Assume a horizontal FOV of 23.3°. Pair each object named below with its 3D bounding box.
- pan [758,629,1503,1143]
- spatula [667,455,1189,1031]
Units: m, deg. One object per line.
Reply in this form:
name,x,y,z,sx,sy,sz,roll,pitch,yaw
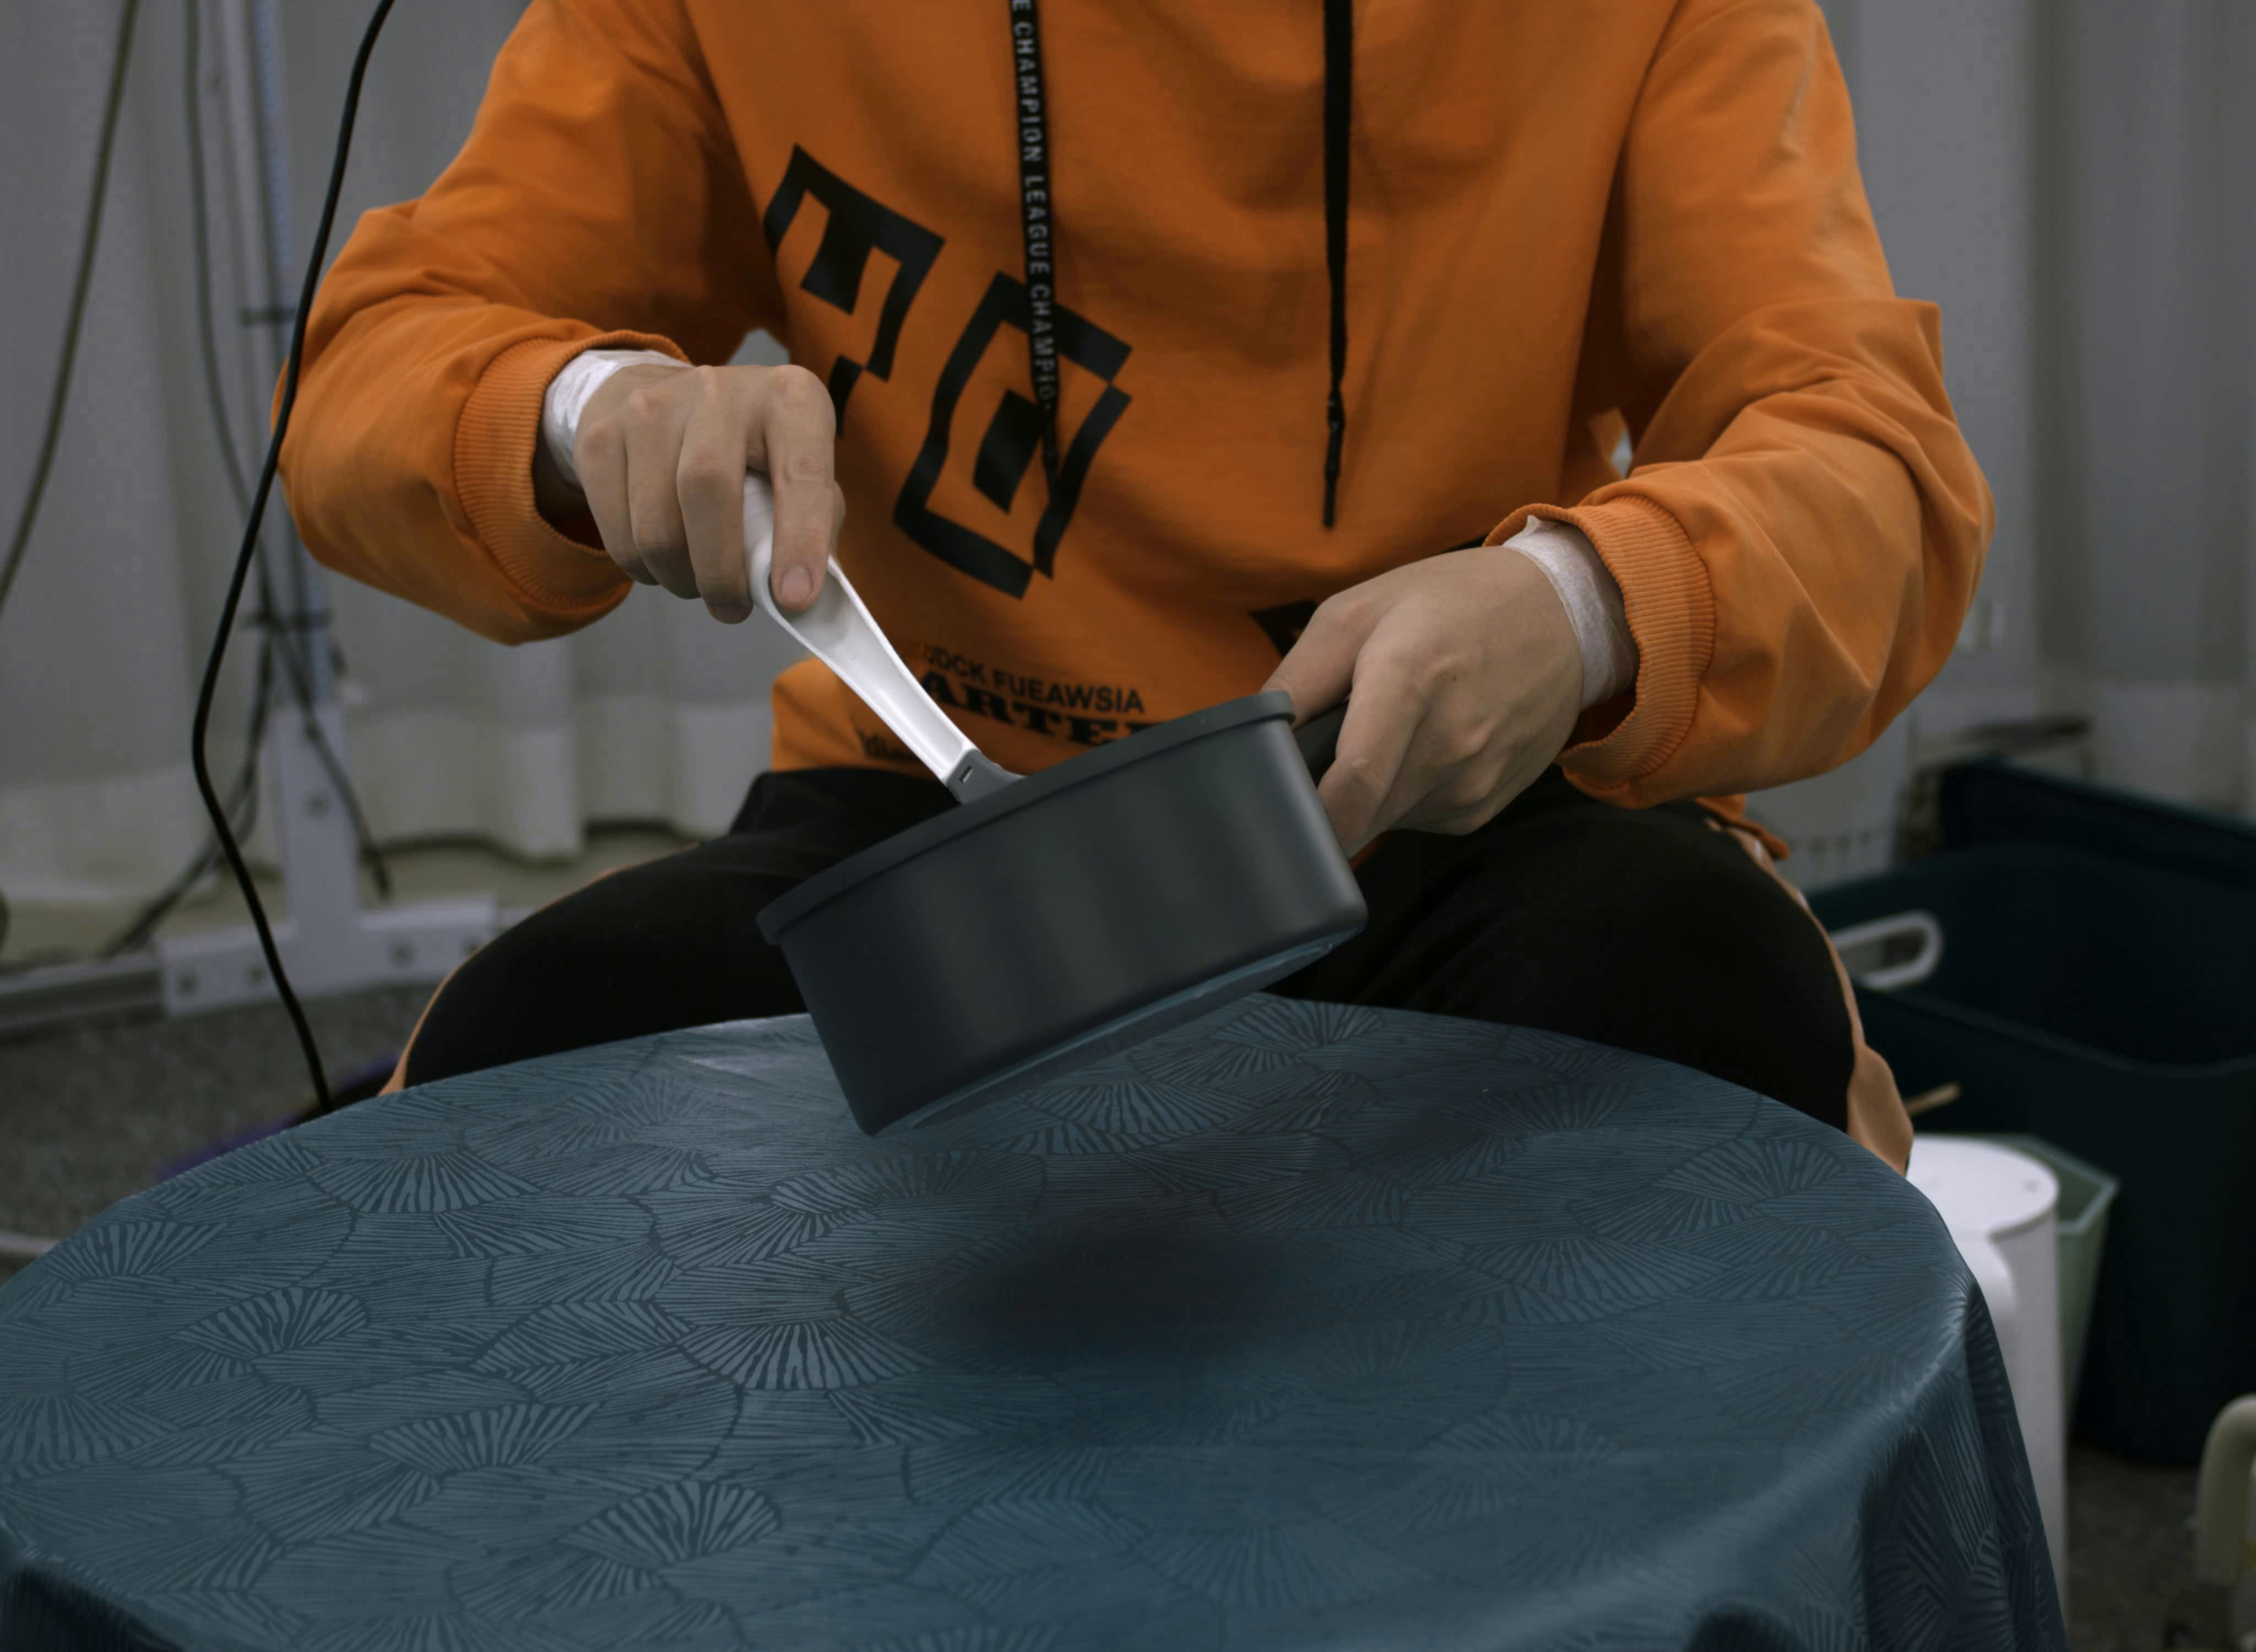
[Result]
pan,0.028,0.011,1.670,0.171,0.087,0.328,-26,-4,37
spatula,-0.060,-0.034,1.709,0.291,0.058,0.032,43,5,41
